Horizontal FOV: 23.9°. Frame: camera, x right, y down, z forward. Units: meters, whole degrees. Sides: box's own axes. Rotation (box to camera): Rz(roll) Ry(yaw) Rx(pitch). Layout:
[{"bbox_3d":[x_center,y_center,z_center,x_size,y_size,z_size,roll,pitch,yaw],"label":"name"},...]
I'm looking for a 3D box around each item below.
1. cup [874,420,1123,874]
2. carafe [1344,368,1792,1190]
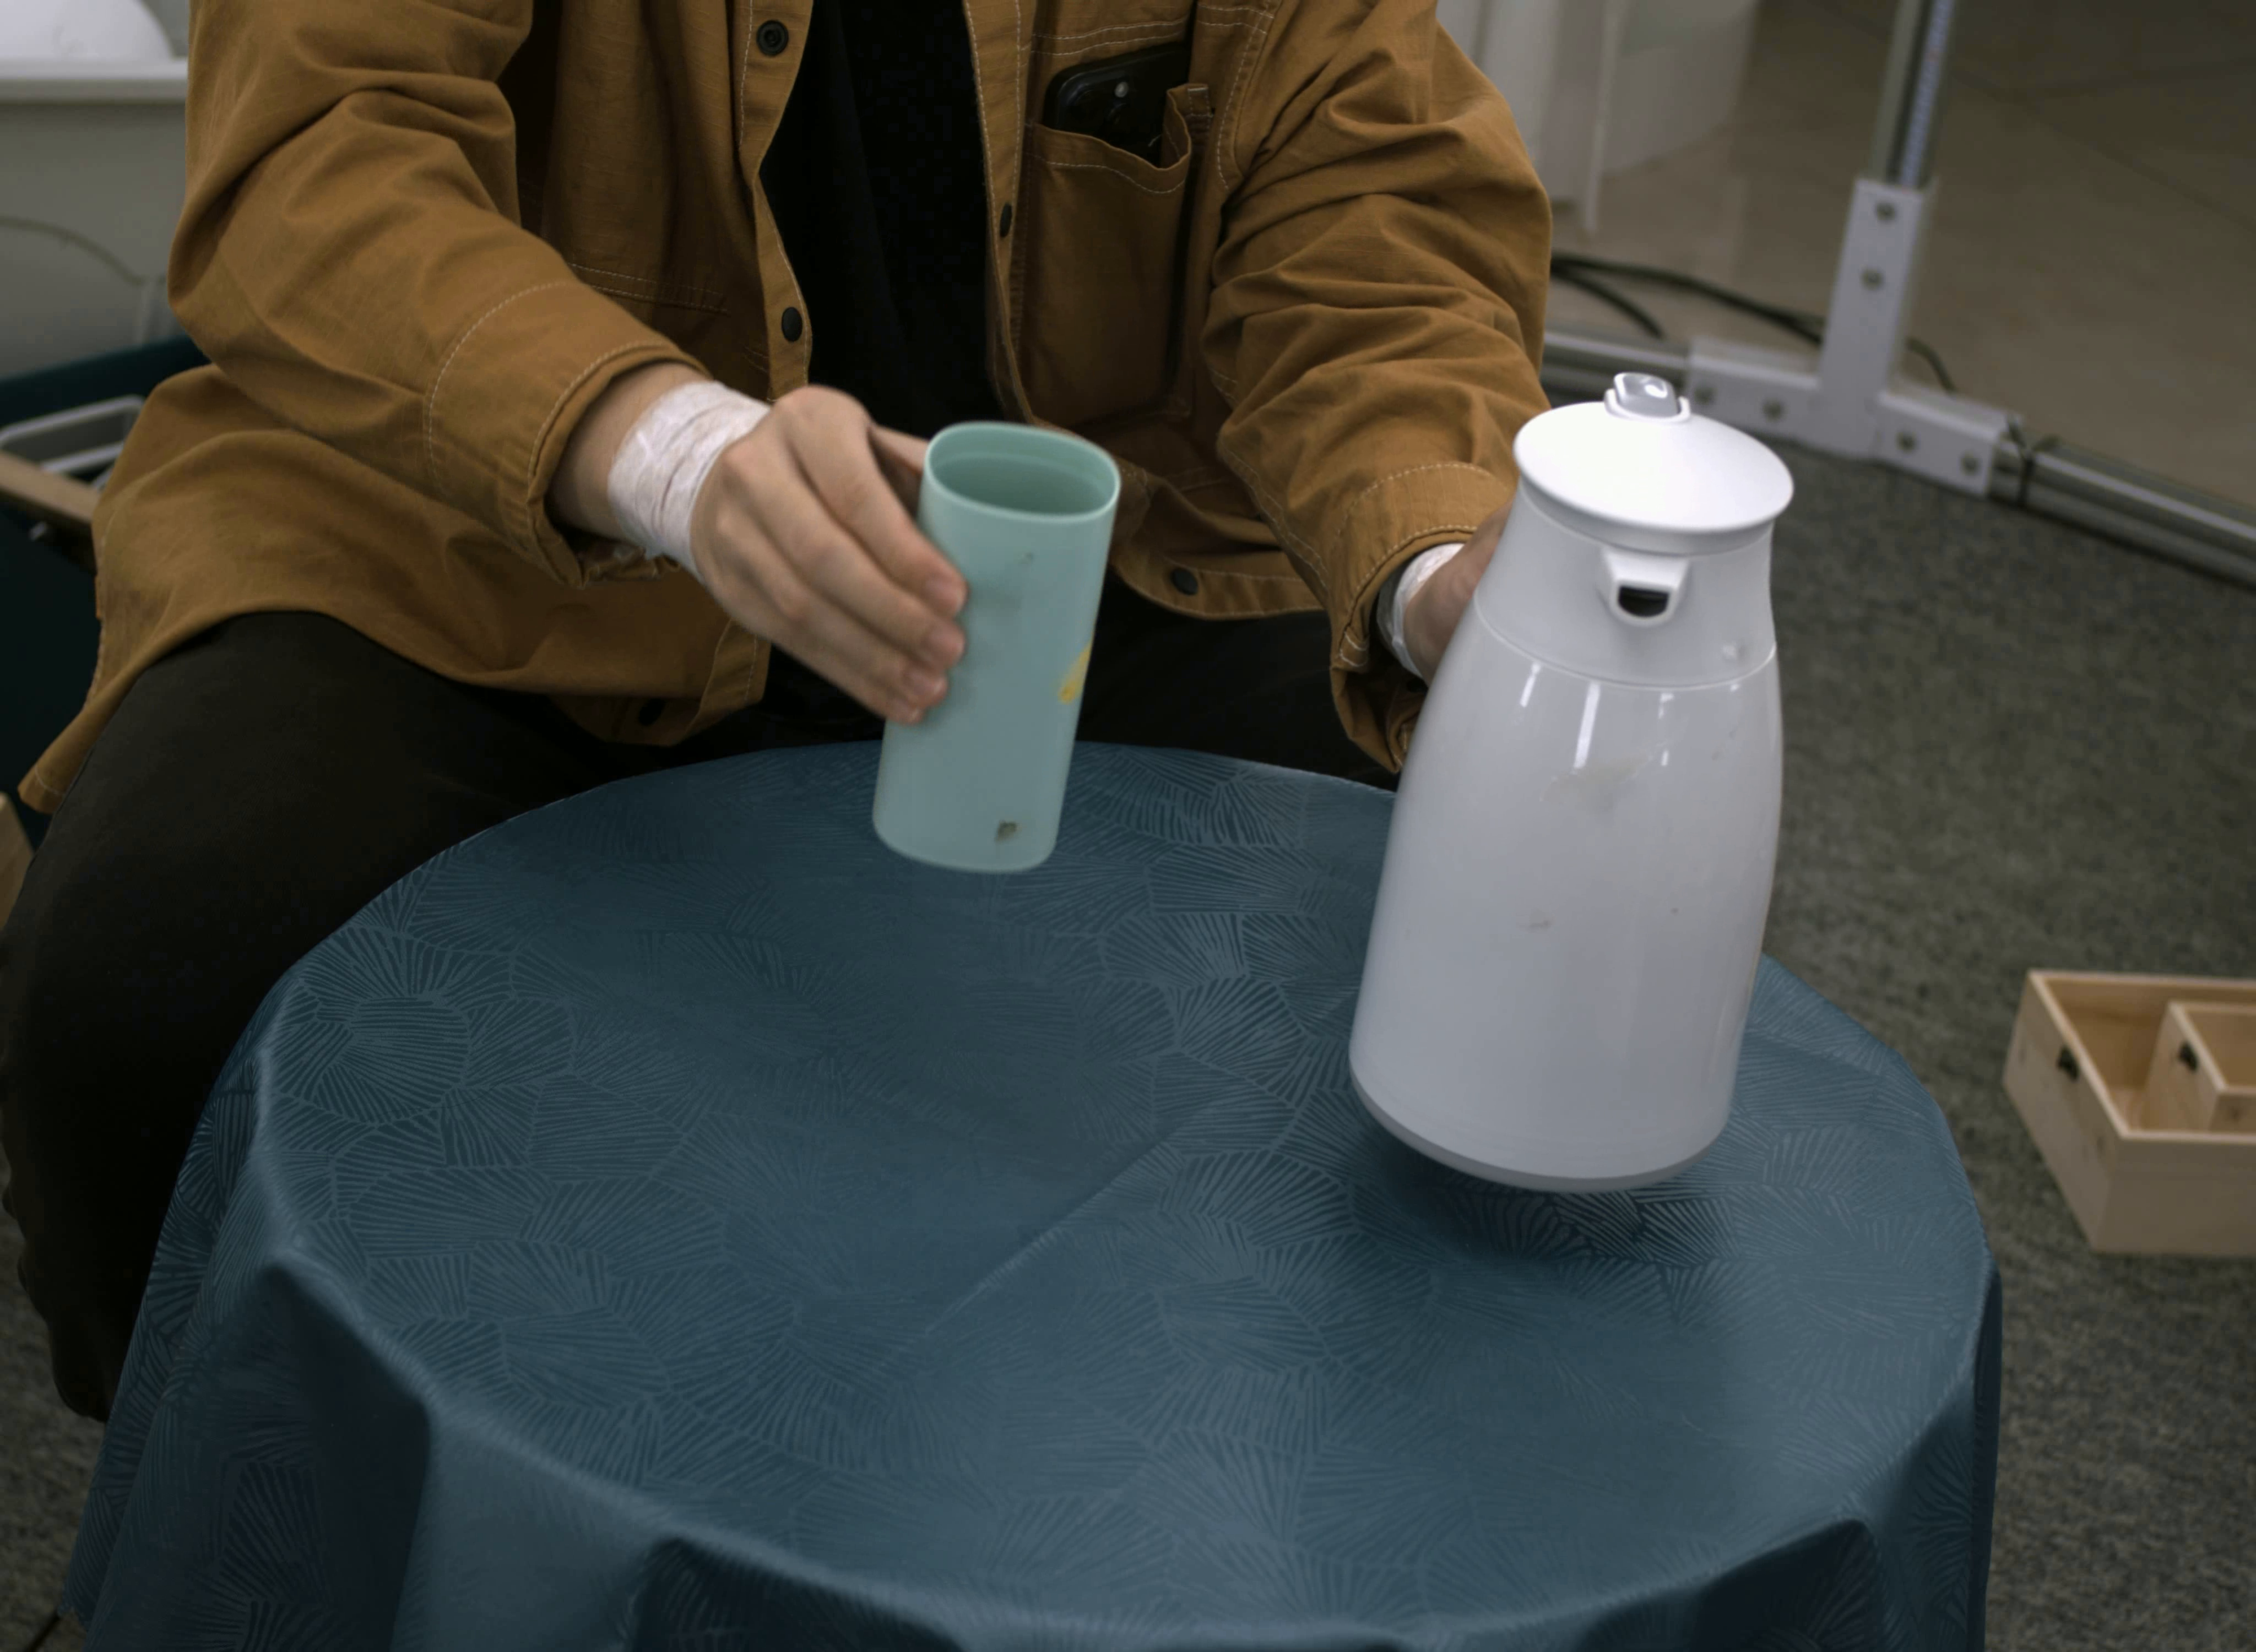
[{"bbox_3d":[-0.044,-0.057,1.705,0.066,0.132,0.067,8,29,-5],"label":"cup"},{"bbox_3d":[0.154,-0.027,1.786,0.132,0.248,0.168,8,28,1],"label":"carafe"}]
